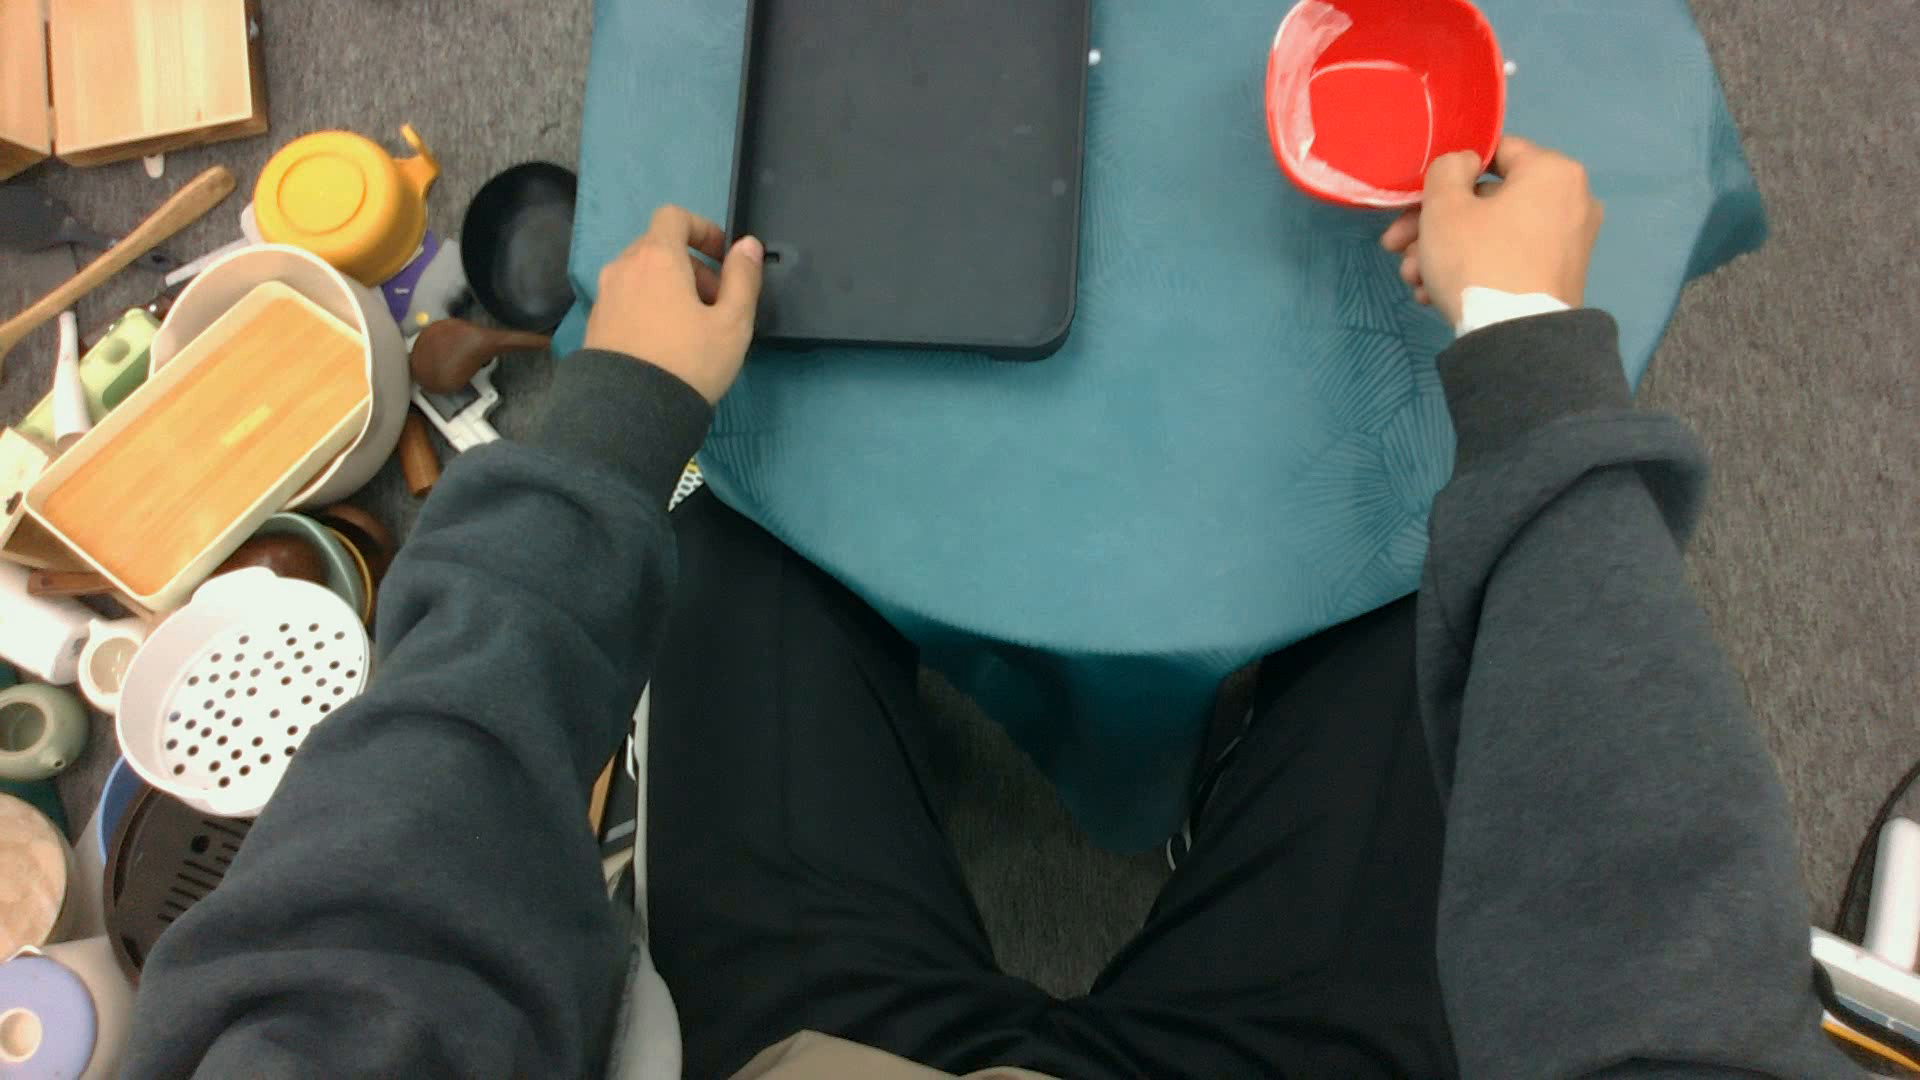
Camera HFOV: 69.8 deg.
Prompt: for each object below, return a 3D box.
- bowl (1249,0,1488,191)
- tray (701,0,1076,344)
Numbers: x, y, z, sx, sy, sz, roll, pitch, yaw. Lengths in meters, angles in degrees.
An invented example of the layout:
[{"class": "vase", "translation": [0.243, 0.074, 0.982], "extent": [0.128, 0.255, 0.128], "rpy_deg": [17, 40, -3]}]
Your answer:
[{"class": "bowl", "translation": [0.192, -0.217, 0.668], "extent": [0.119, 0.051, 0.119], "rpy_deg": [0, 84, 2]}, {"class": "tray", "translation": [-0.031, -0.261, 0.730], "extent": [0.184, 0.037, 0.318], "rpy_deg": [3, 80, 4]}]
